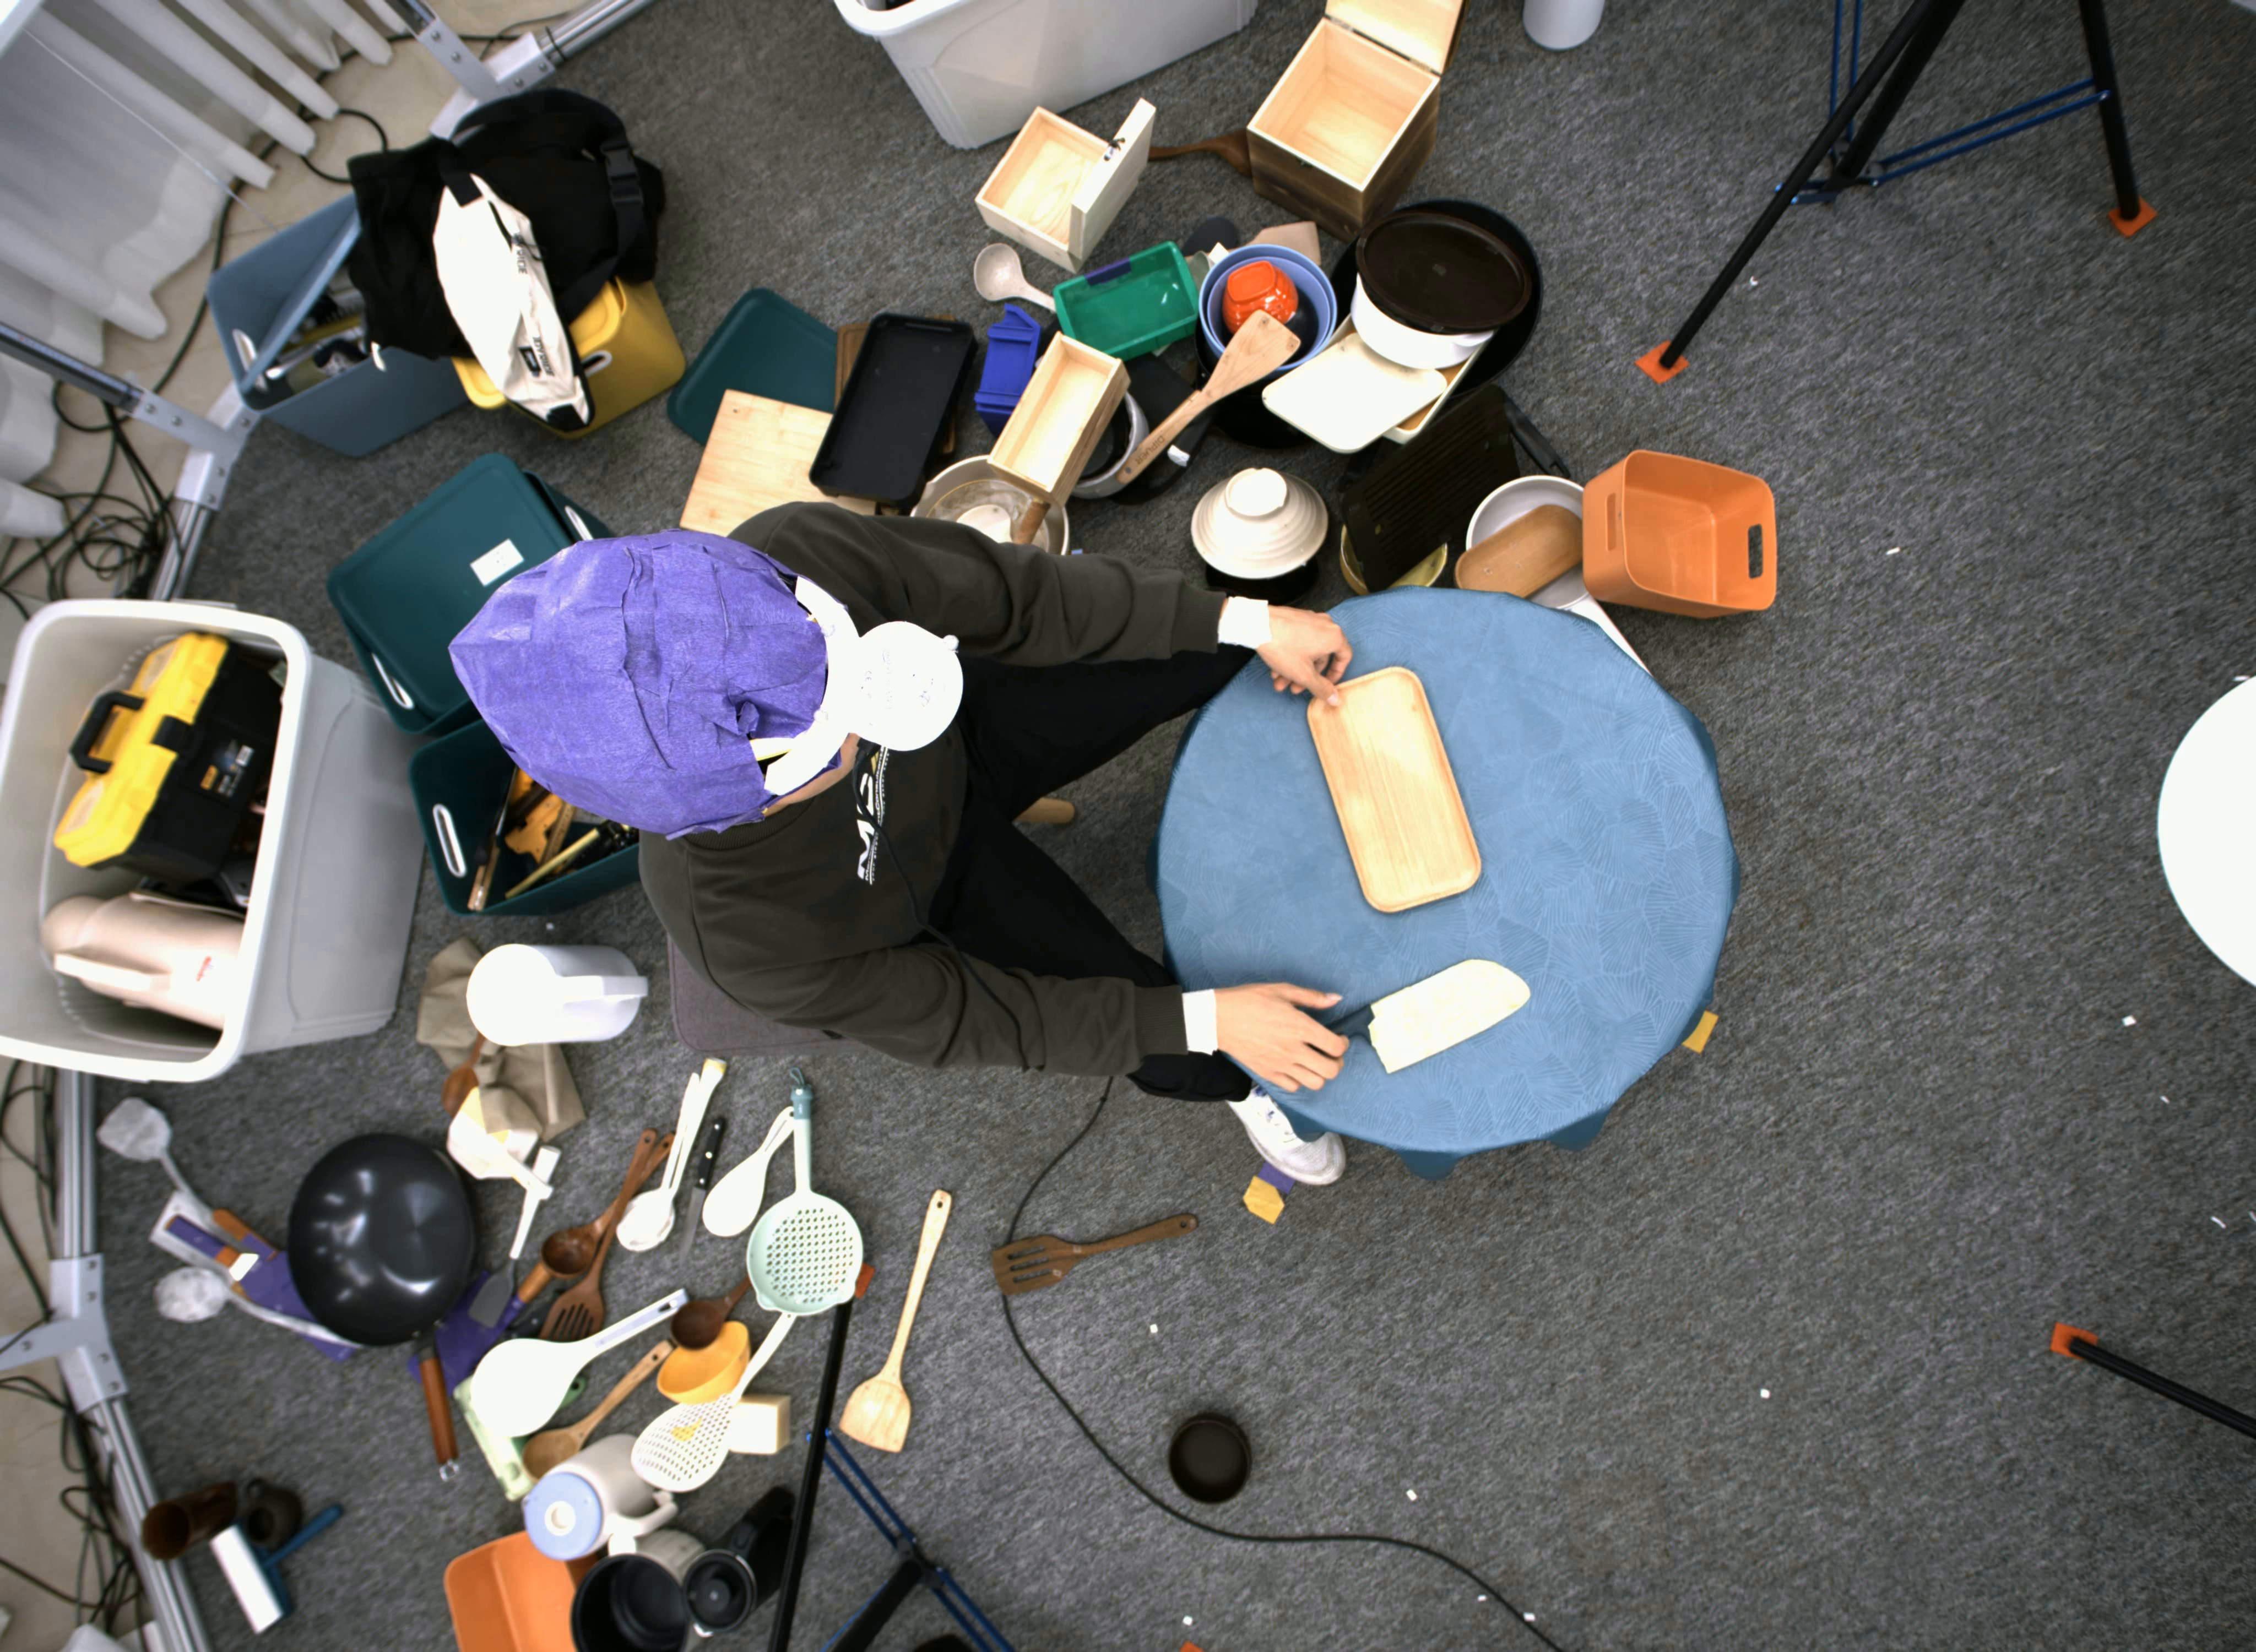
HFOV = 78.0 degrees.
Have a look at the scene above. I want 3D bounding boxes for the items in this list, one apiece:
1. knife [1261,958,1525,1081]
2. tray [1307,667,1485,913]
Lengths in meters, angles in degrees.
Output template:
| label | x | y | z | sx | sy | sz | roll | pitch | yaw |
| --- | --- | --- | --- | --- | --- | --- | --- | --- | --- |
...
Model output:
| label | x | y | z | sx | sy | sz | roll | pitch | yaw |
| --- | --- | --- | --- | --- | --- | --- | --- | --- | --- |
| knife | 0.278 | 0.212 | 1.443 | 0.291 | 0.027 | 0.080 | -23 | 81 | 8 |
| tray | 0.283 | -0.040 | 1.456 | 0.131 | 0.023 | 0.249 | -18 | 84 | 12 |
